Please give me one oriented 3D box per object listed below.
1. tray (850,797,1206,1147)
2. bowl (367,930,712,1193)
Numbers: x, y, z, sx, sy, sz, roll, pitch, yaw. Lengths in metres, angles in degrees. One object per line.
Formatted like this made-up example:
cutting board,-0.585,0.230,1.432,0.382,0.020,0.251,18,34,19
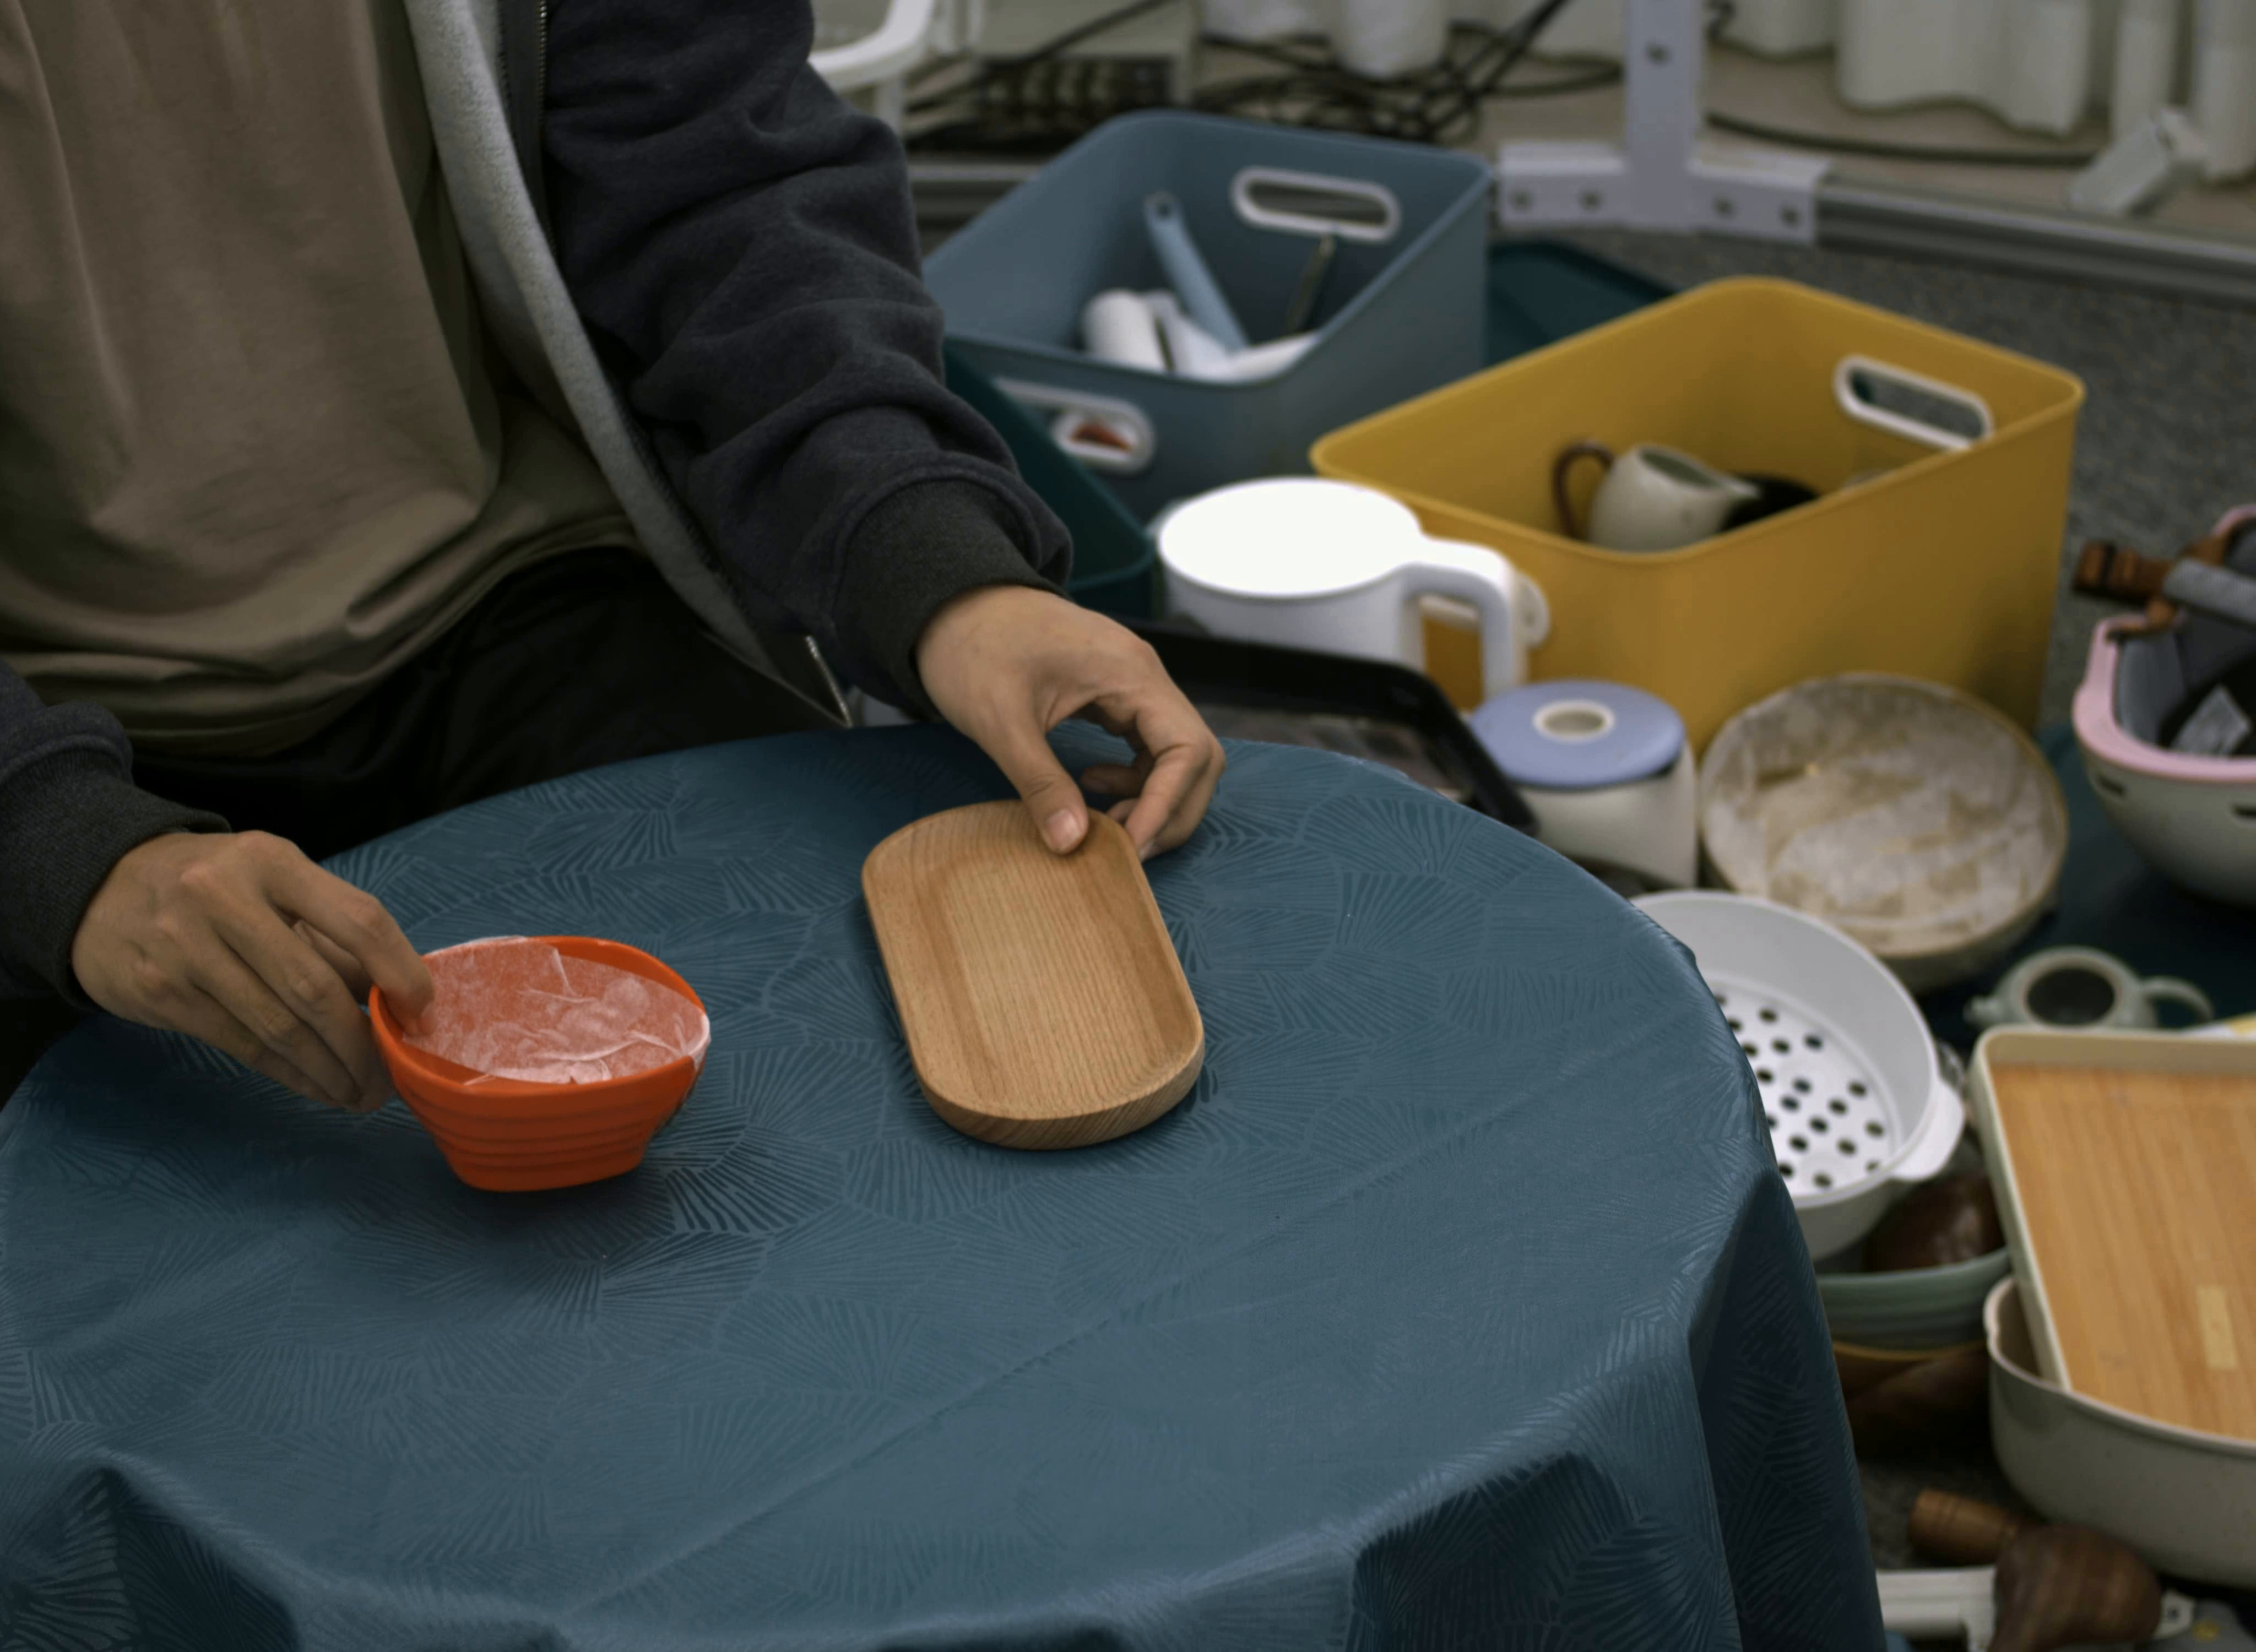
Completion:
tray,-0.037,0.049,1.985,0.101,0.020,0.234,-9,27,-9
bowl,-0.198,0.083,1.880,0.118,0.051,0.120,4,26,-1
